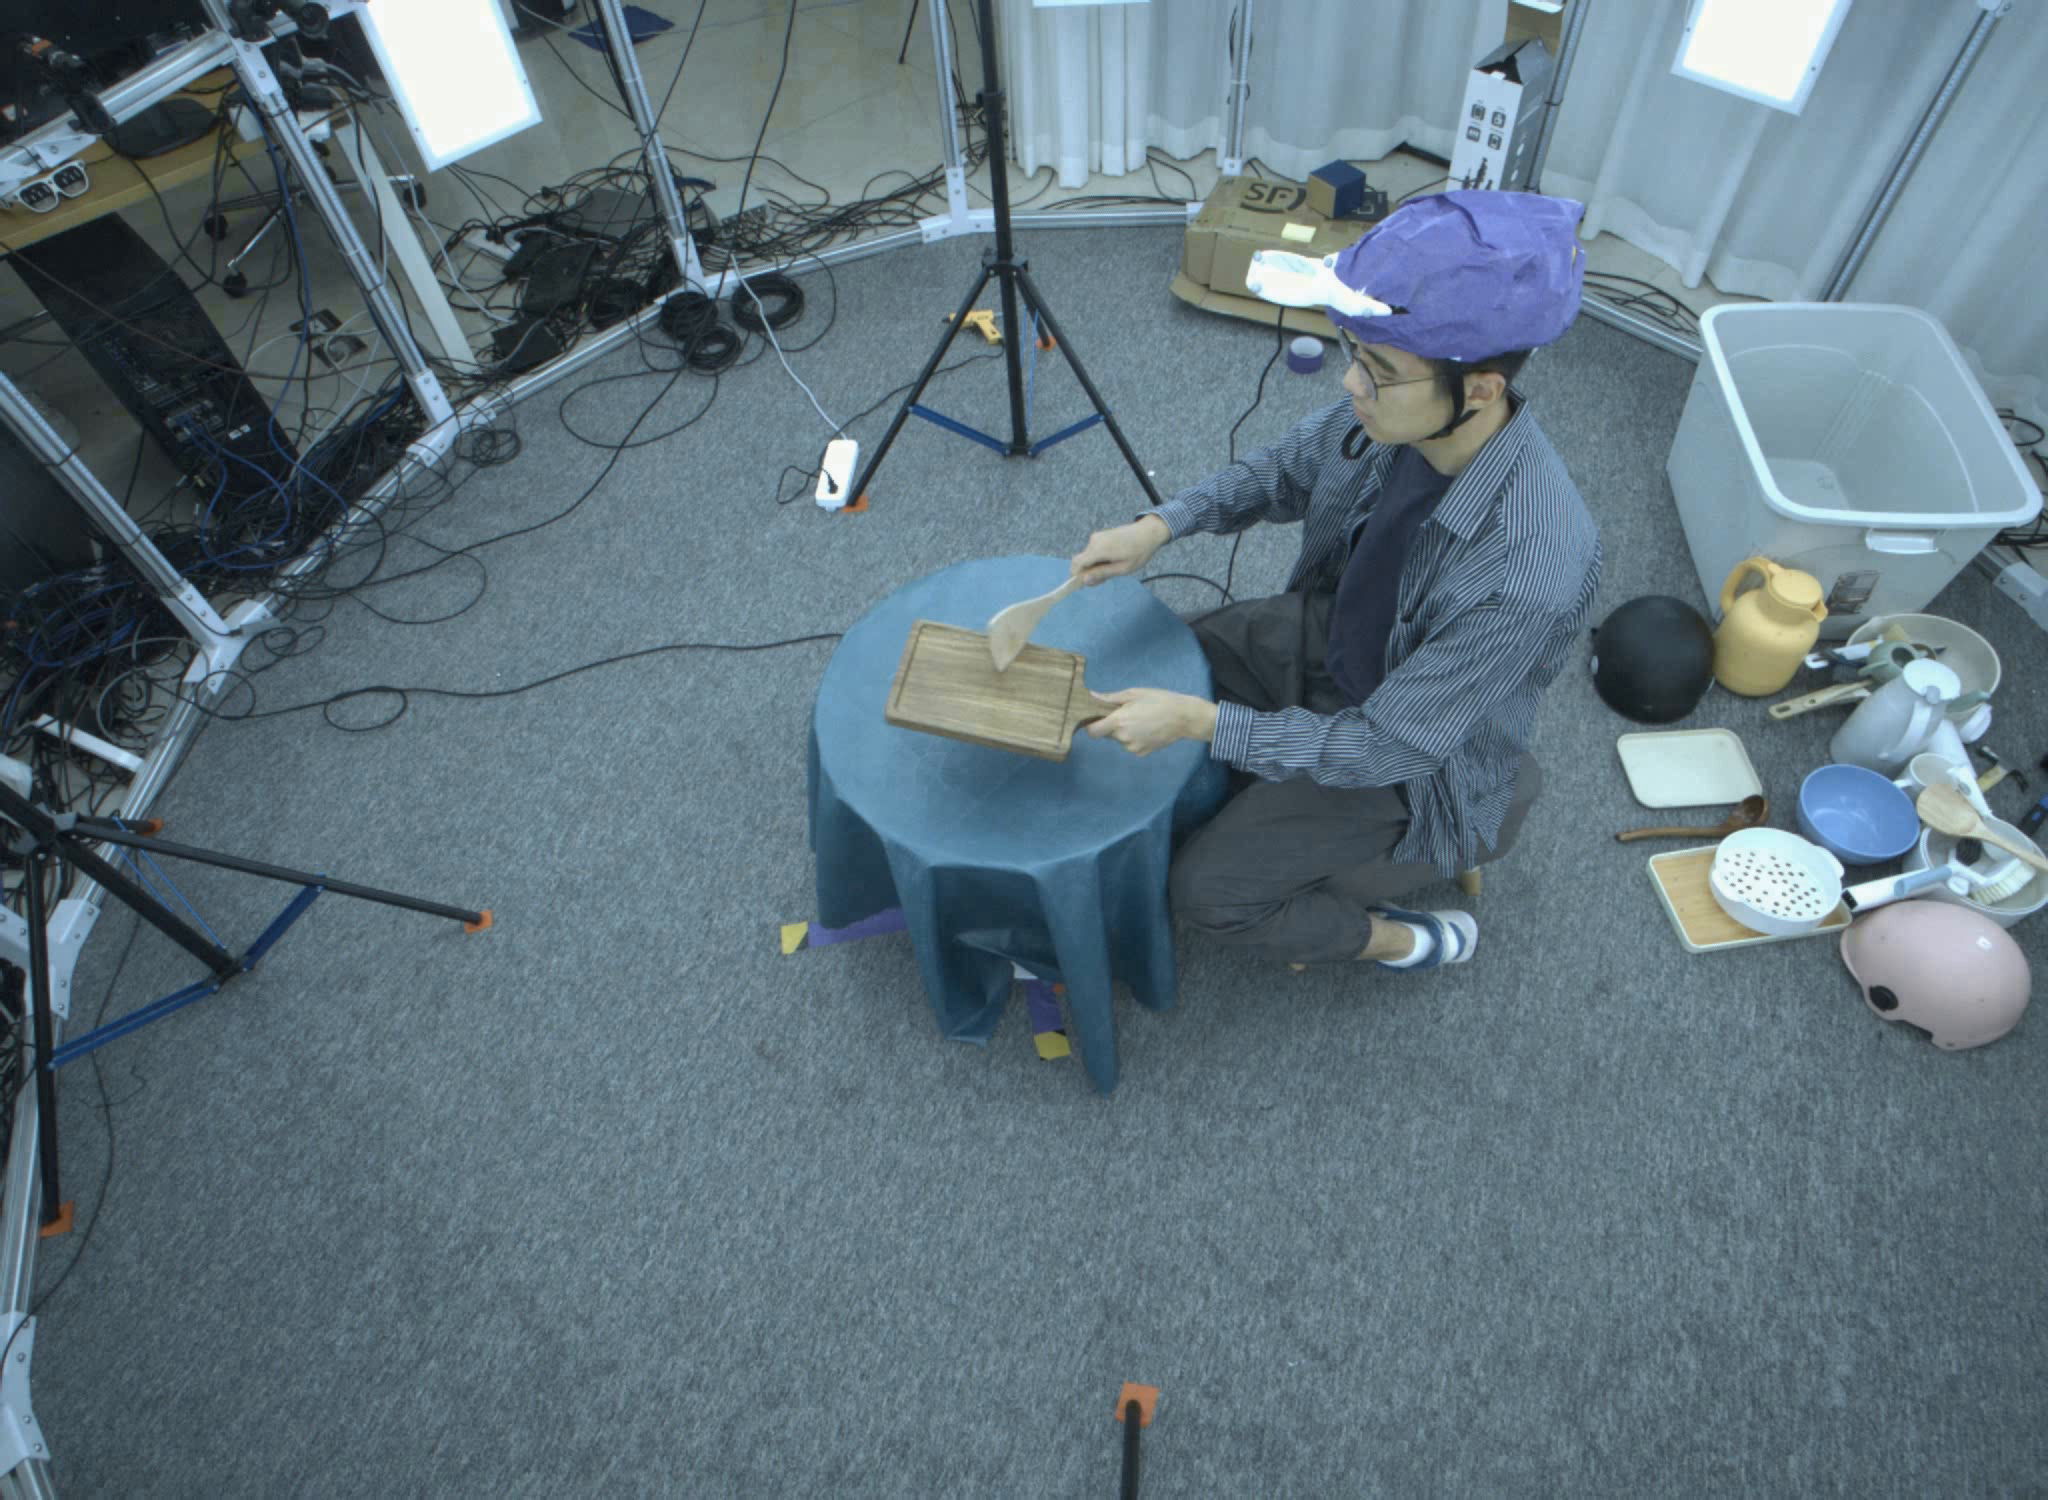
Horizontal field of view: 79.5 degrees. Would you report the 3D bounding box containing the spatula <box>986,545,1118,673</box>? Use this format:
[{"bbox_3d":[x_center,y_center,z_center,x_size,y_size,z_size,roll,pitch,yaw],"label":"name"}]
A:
[{"bbox_3d":[0.046,-0.215,1.762,0.016,0.081,0.330,19,44,33],"label":"spatula"}]

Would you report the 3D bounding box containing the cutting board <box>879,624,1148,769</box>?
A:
[{"bbox_3d":[-0.005,-0.065,1.667,0.353,0.023,0.200,13,48,-2],"label":"cutting board"}]
